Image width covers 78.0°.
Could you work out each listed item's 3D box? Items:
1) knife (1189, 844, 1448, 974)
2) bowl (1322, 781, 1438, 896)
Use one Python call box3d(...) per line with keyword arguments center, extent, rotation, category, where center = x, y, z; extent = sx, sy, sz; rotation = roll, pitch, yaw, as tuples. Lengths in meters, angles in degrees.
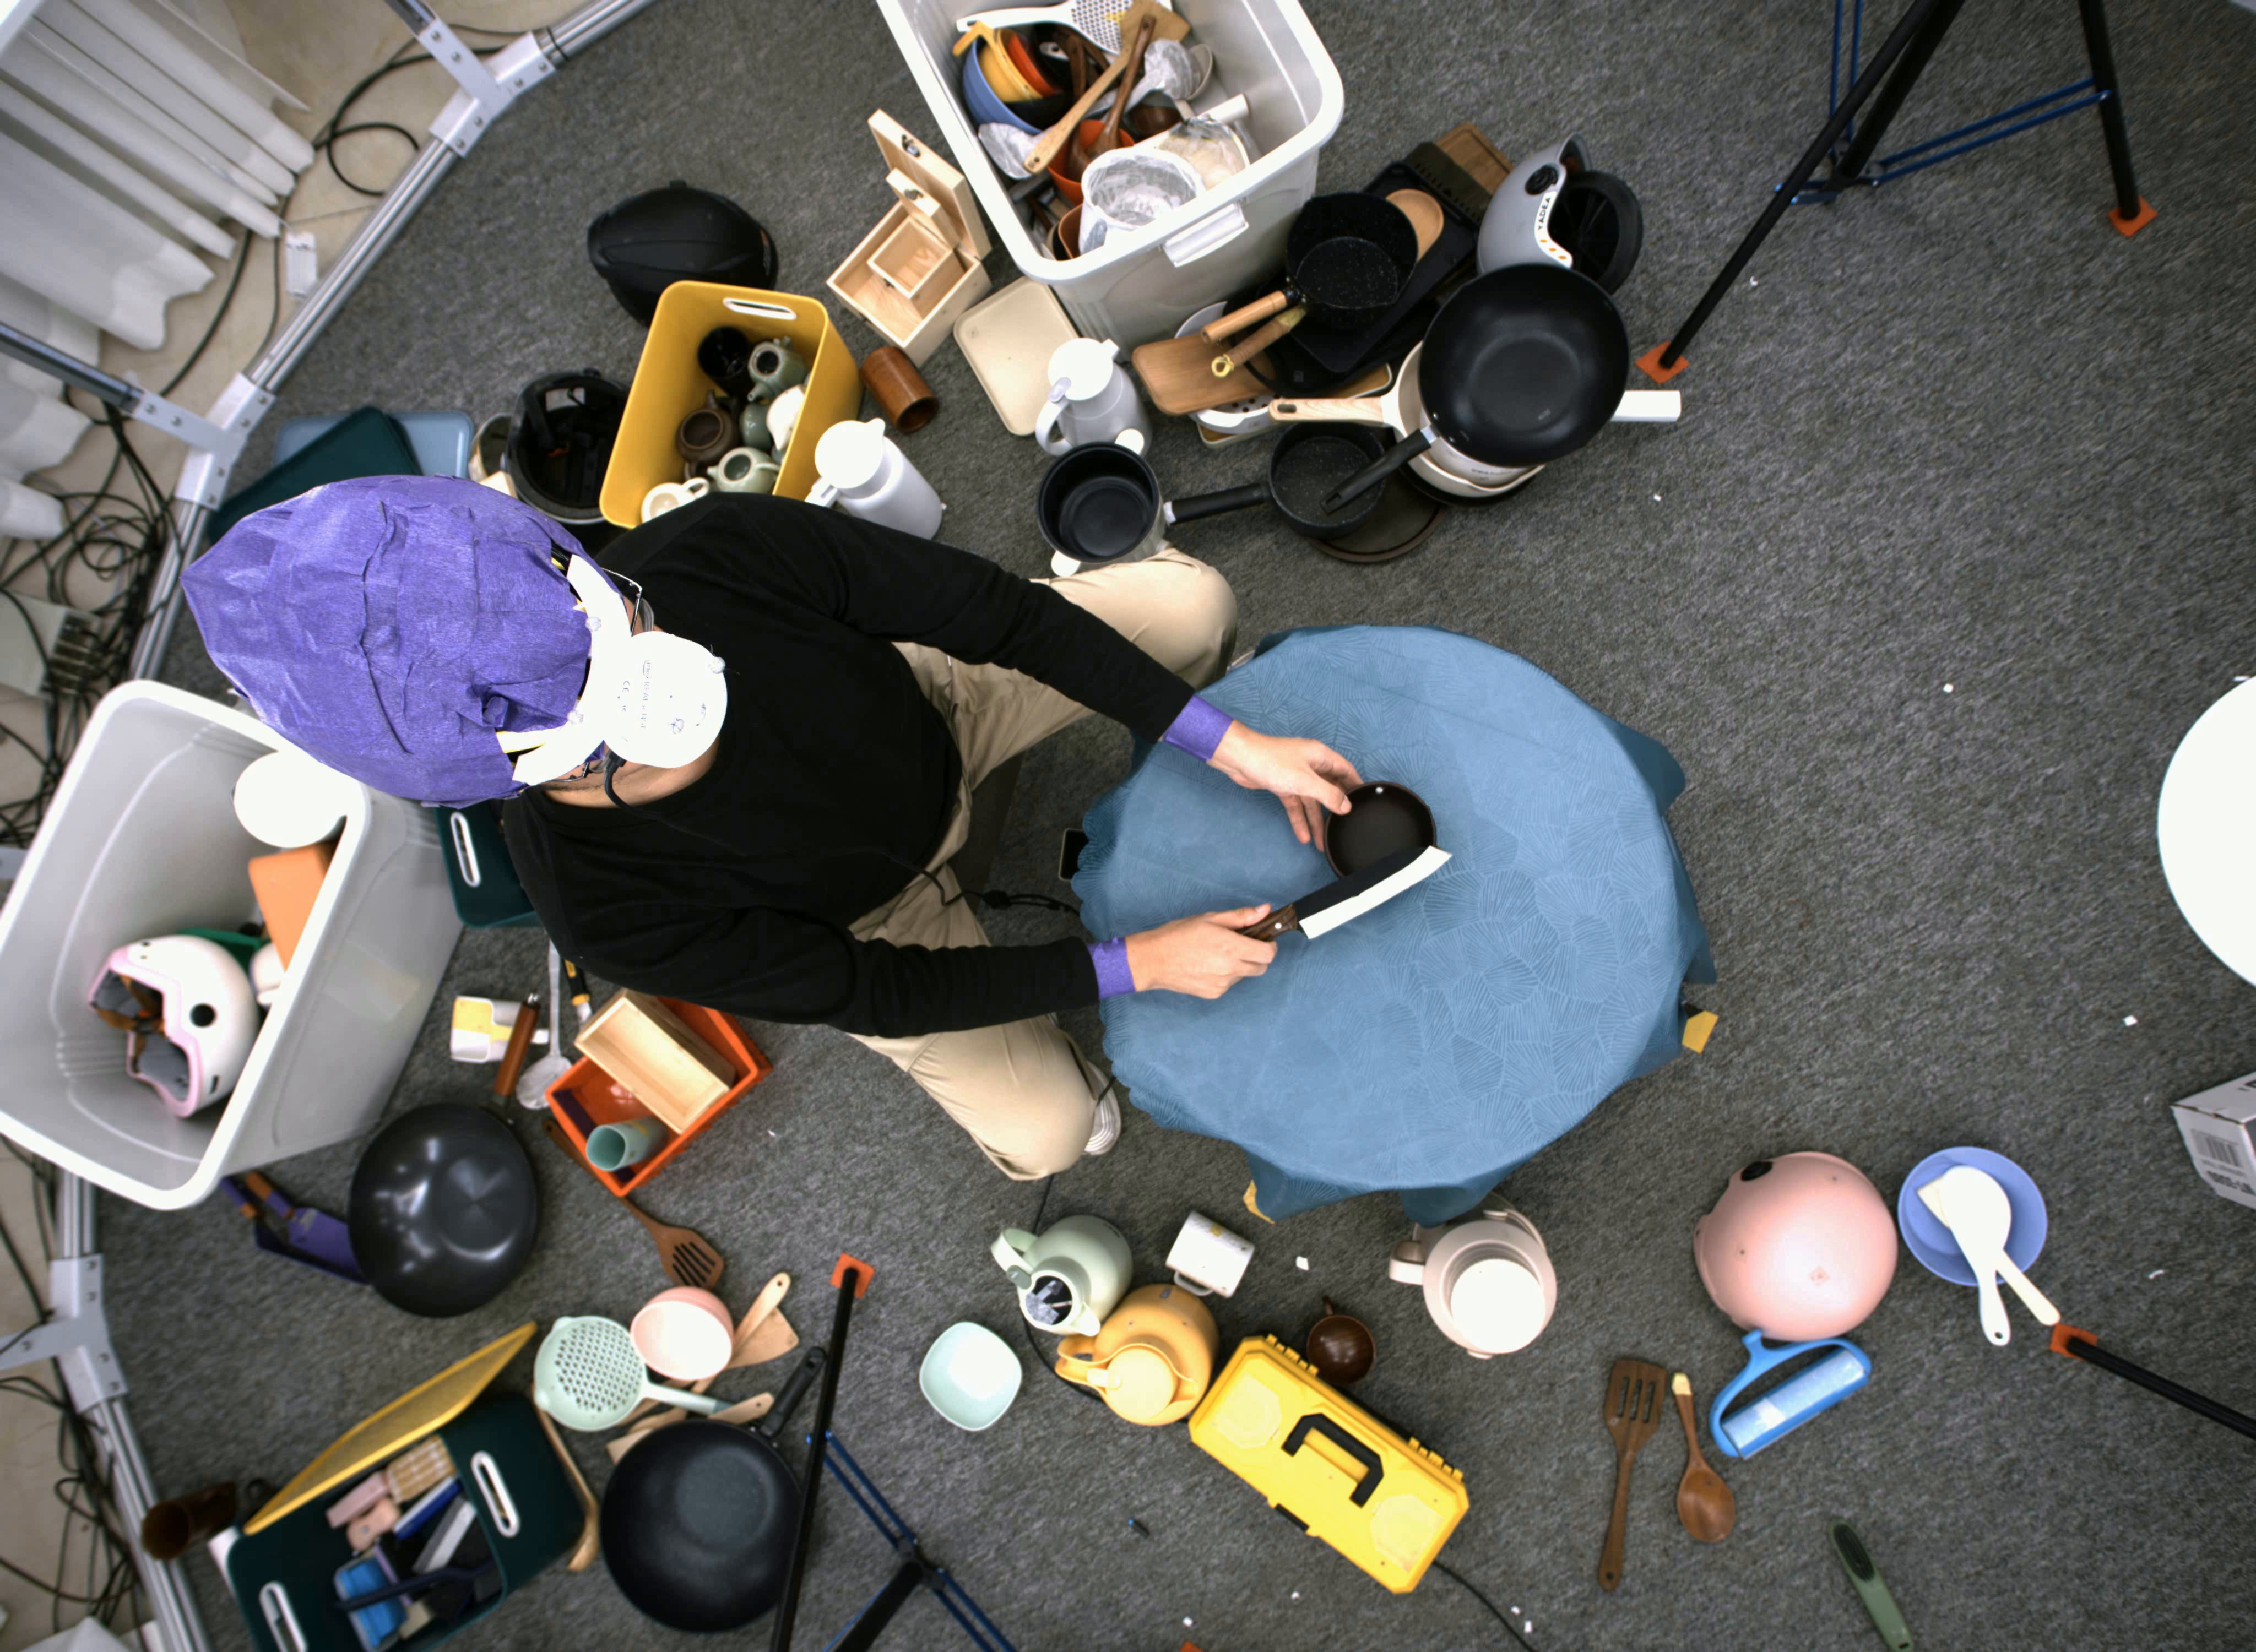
box3d(center=(0.192, 0.084, 1.408), extent=(0.292, 0.019, 0.051), rotation=(-26, 109, 19), category="knife")
box3d(center=(0.261, 0.014, 1.429), extent=(0.118, 0.070, 0.117), rotation=(-1, 85, 12), category="bowl")
